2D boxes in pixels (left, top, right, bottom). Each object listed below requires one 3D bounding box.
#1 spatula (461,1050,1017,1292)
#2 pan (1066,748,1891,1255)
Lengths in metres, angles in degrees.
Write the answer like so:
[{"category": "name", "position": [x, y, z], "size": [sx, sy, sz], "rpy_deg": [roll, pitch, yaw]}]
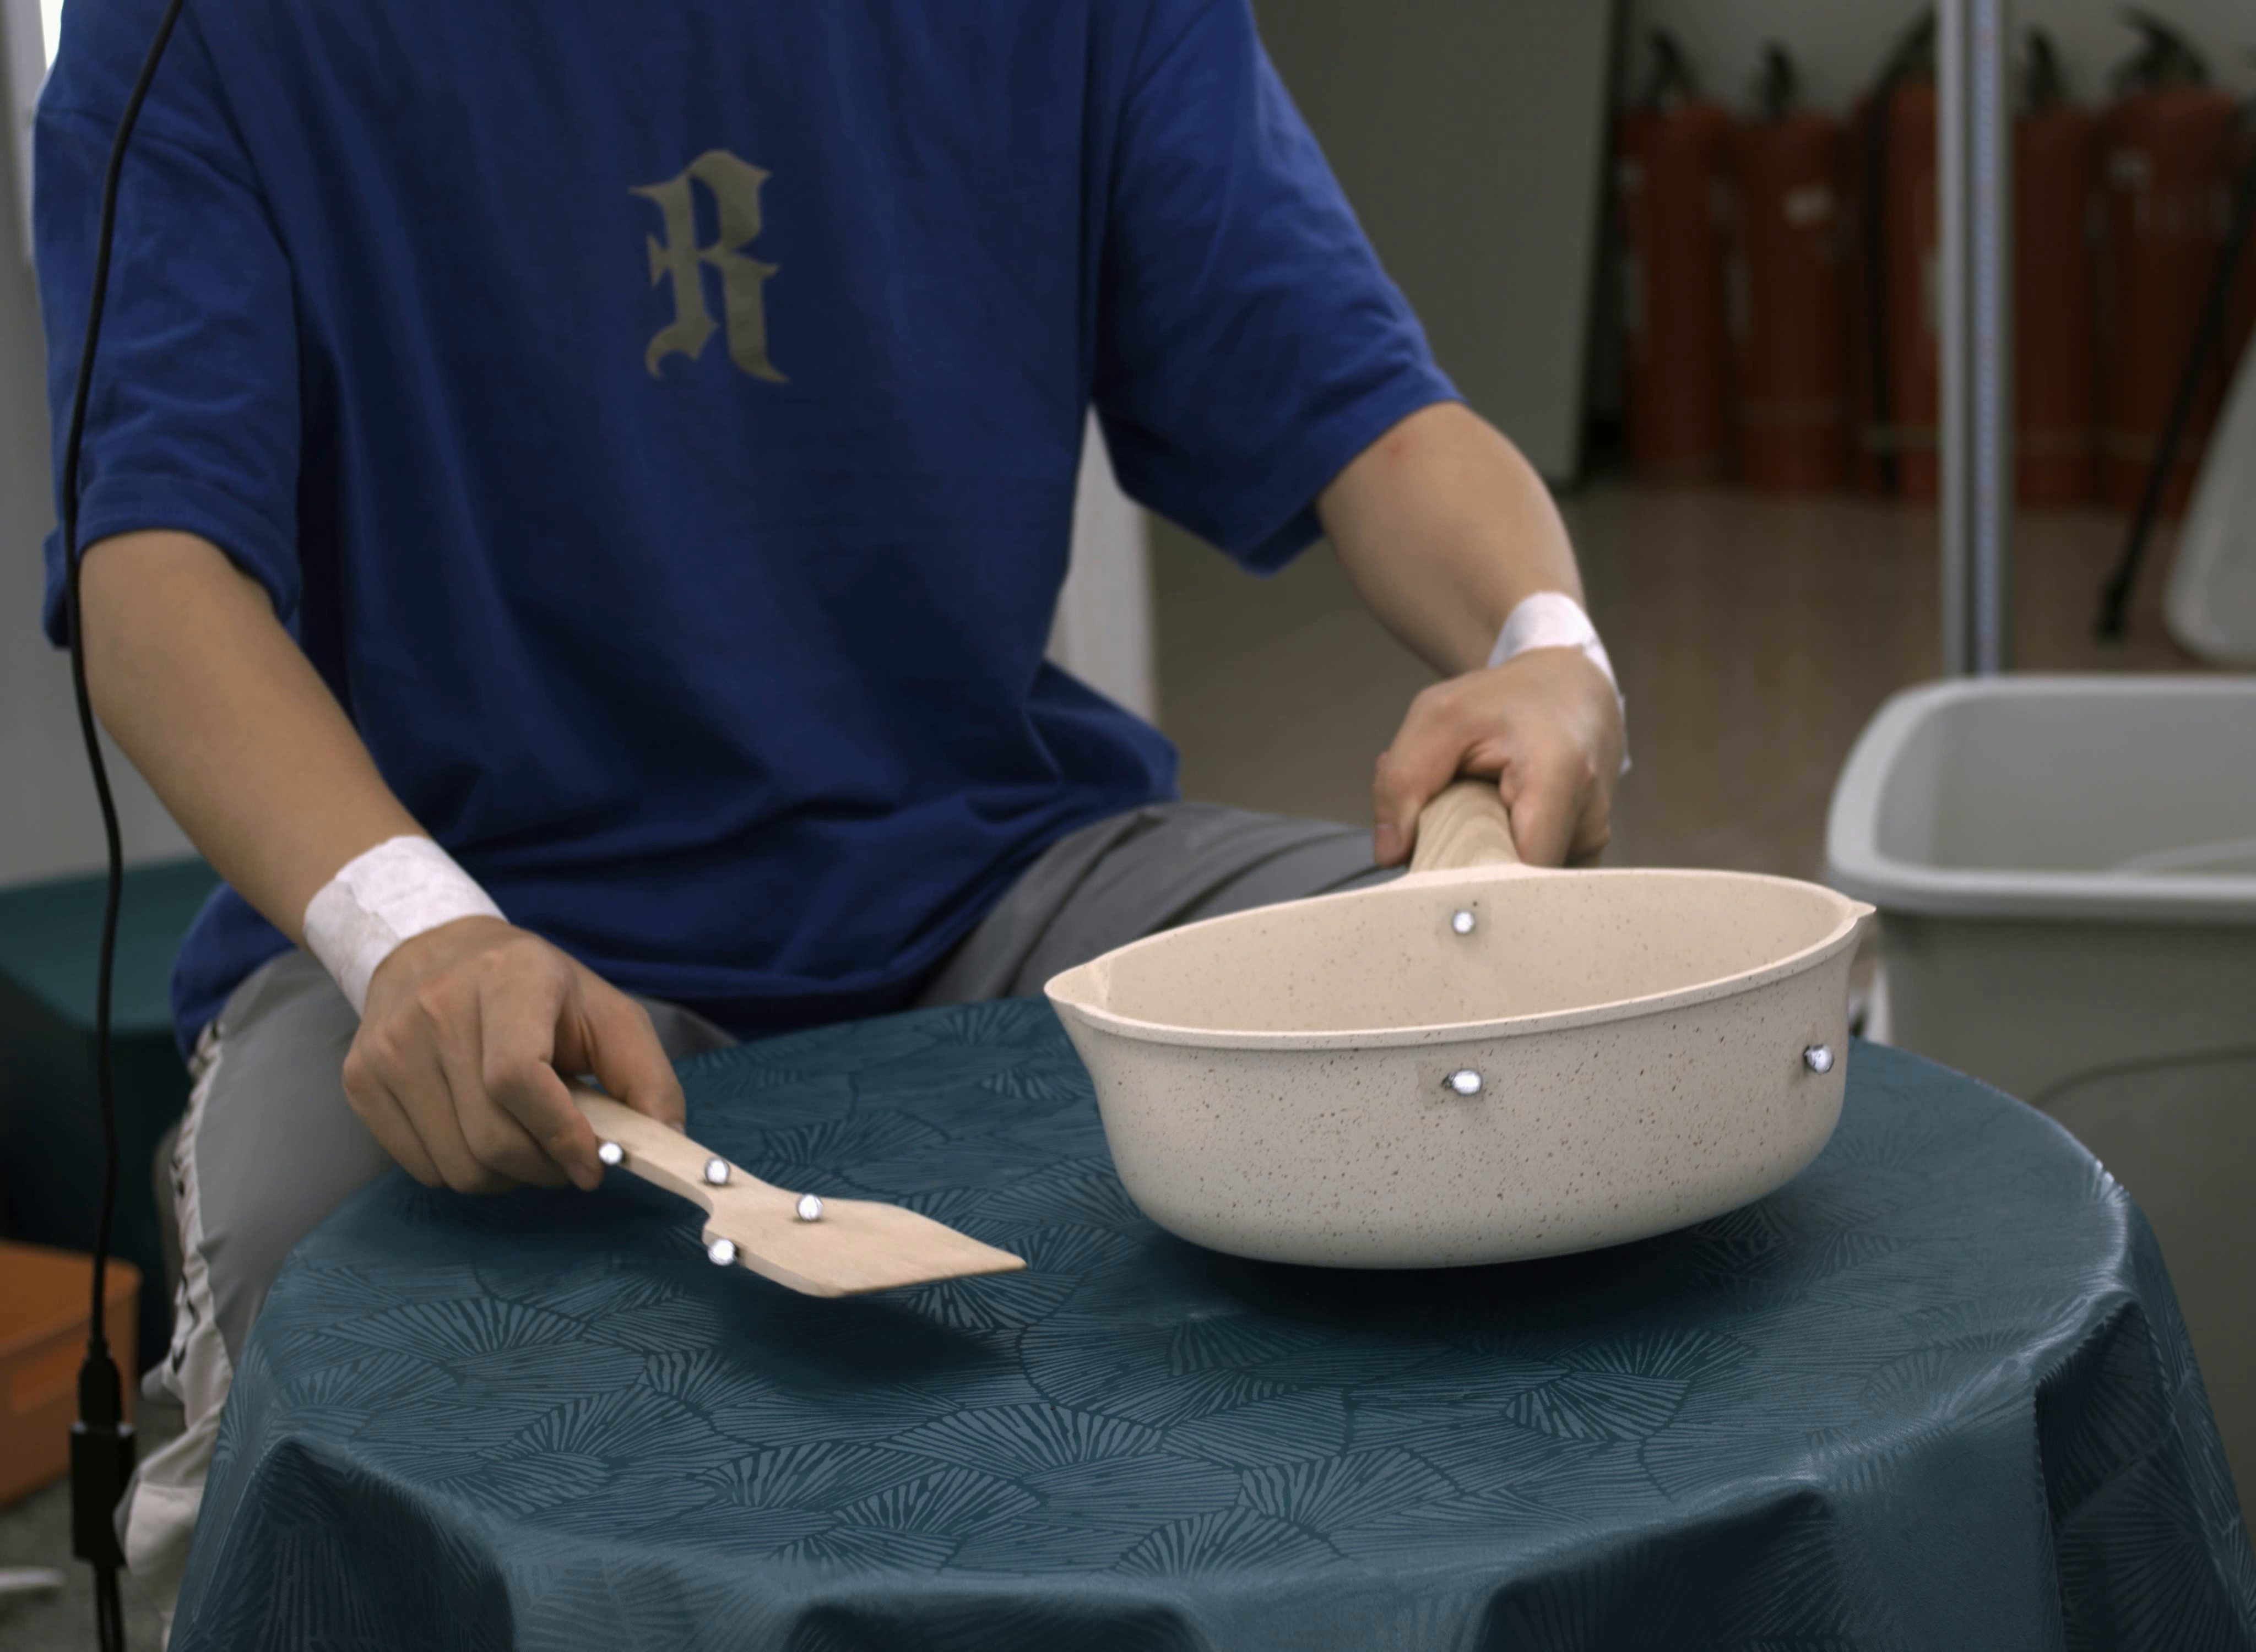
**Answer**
[{"category": "spatula", "position": [-0.139, 0.108, 1.725], "size": [0.070, 0.011, 0.296], "rpy_deg": [-6, 14, -32]}, {"category": "pan", "position": [0.117, 0.052, 1.778], "size": [0.260, 0.103, 0.434], "rpy_deg": [-8, 8, 4]}]
